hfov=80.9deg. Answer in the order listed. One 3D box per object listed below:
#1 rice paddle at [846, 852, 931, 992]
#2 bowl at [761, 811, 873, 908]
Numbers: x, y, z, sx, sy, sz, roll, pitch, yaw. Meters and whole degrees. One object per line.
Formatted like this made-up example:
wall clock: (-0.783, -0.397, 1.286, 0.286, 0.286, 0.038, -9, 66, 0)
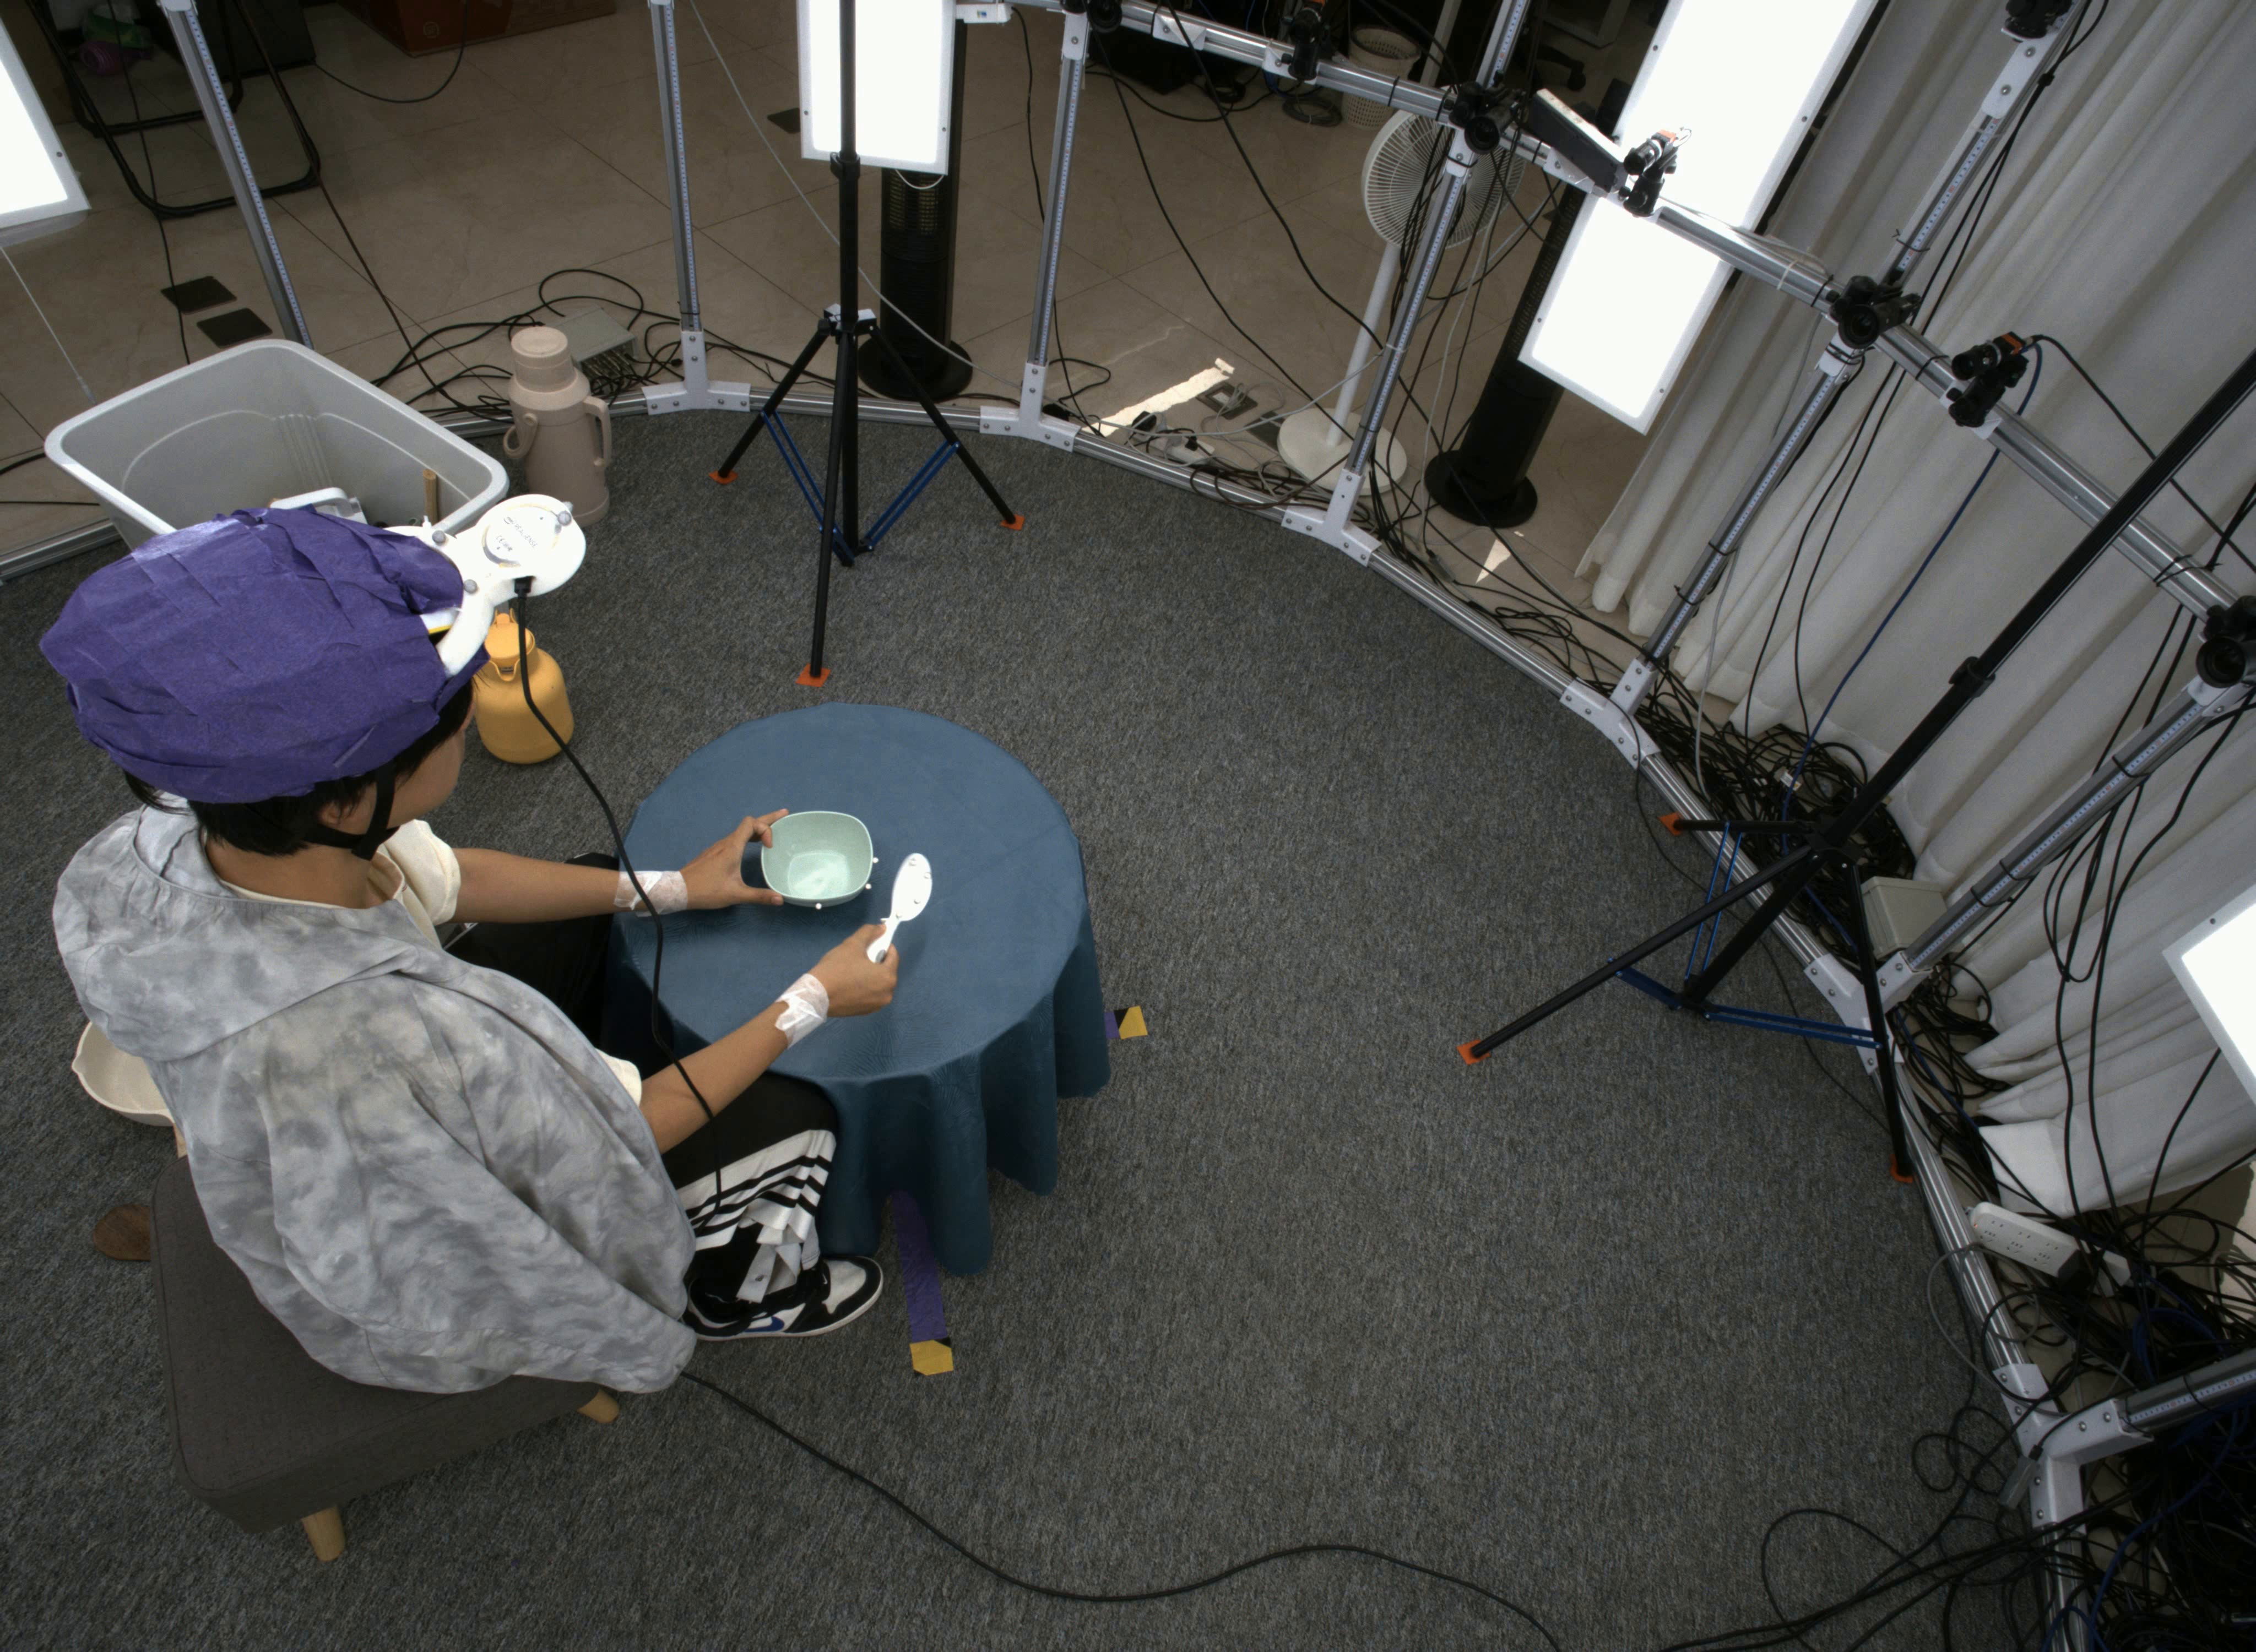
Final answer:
rice paddle: (-0.279, 0.110, 1.559, 0.028, 0.071, 0.203, 4, 44, 21)
bowl: (-0.396, 0.052, 1.659, 0.151, 0.060, 0.149, 8, 53, -9)
